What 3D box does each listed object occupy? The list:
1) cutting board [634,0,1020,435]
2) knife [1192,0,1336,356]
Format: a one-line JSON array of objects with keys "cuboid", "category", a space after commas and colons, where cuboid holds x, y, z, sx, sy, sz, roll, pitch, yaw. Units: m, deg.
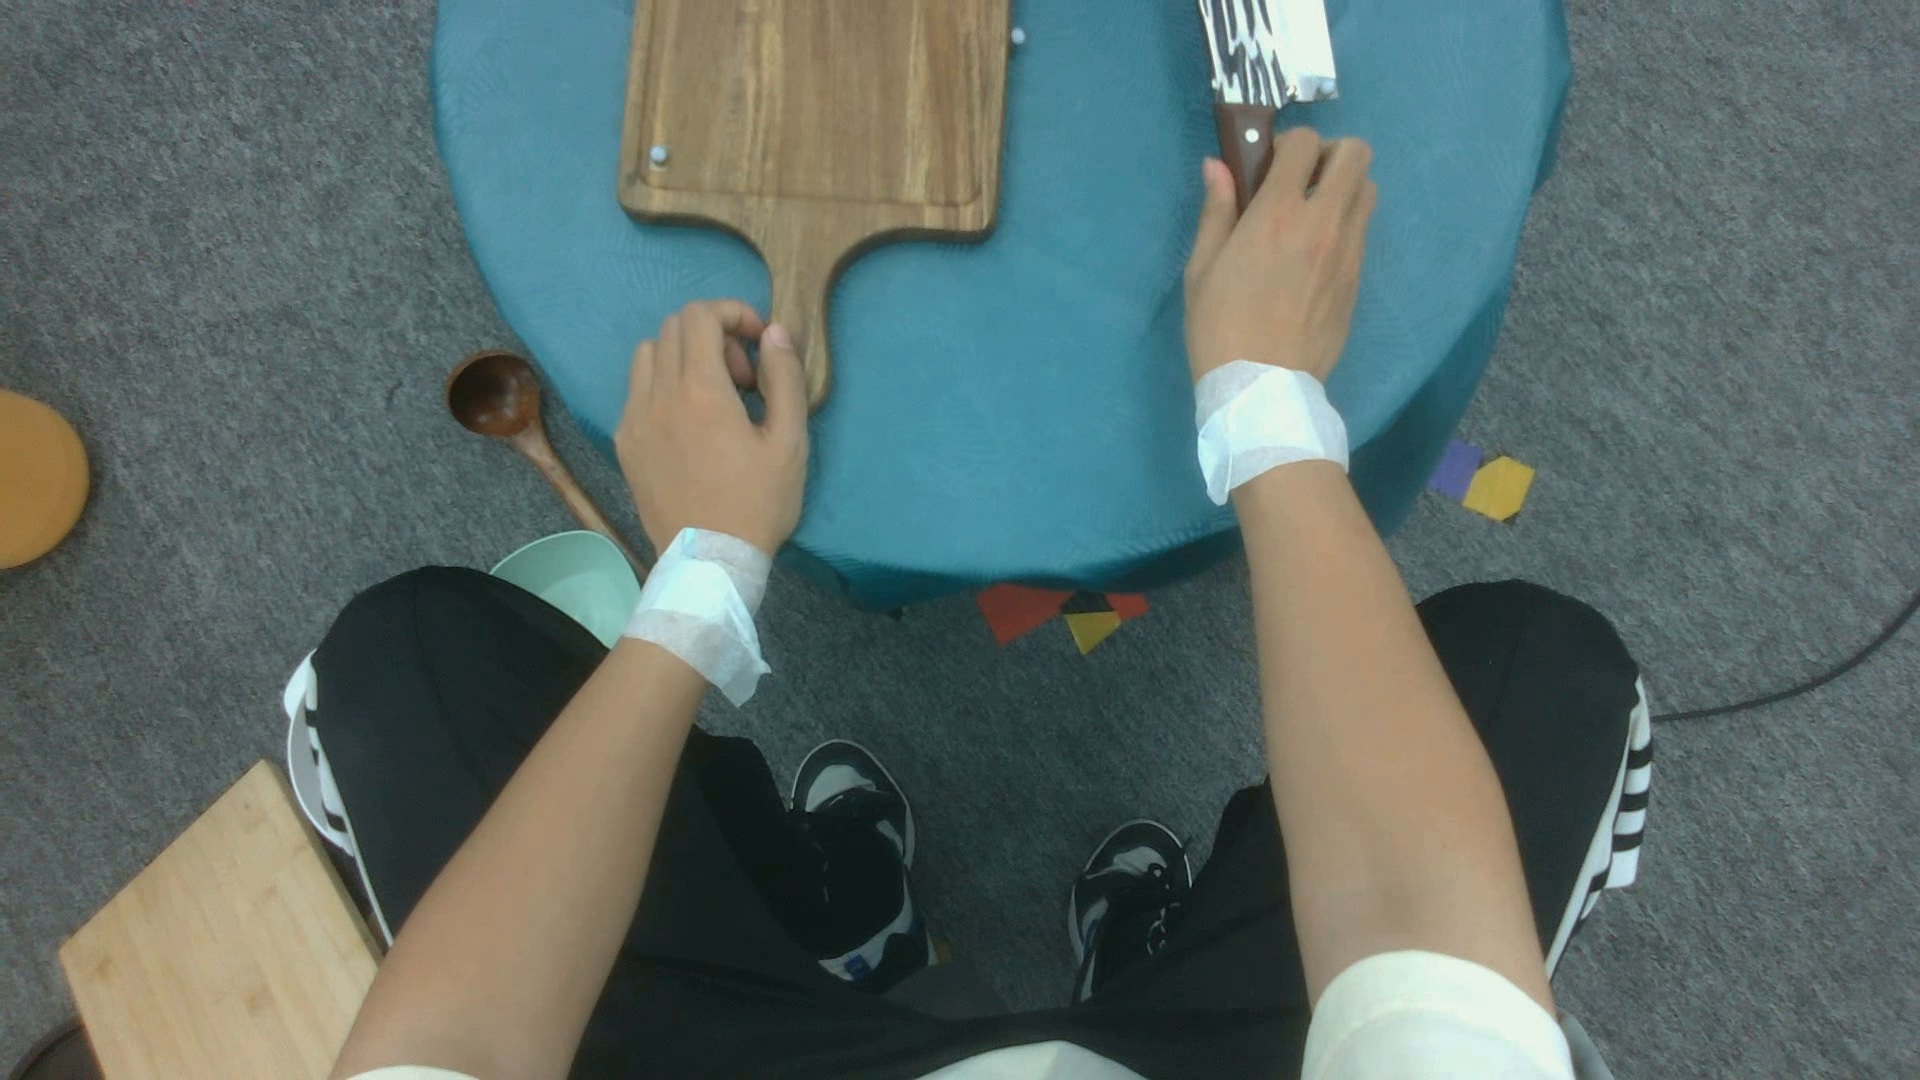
[{"cuboid": [-0.071, -0.230, 0.742, 0.201, 0.023, 0.352, 4, 81, 3], "category": "cutting board"}, {"cuboid": [0.162, -0.243, 0.724, 0.068, 0.024, 0.300, -6, 80, -10], "category": "knife"}]
